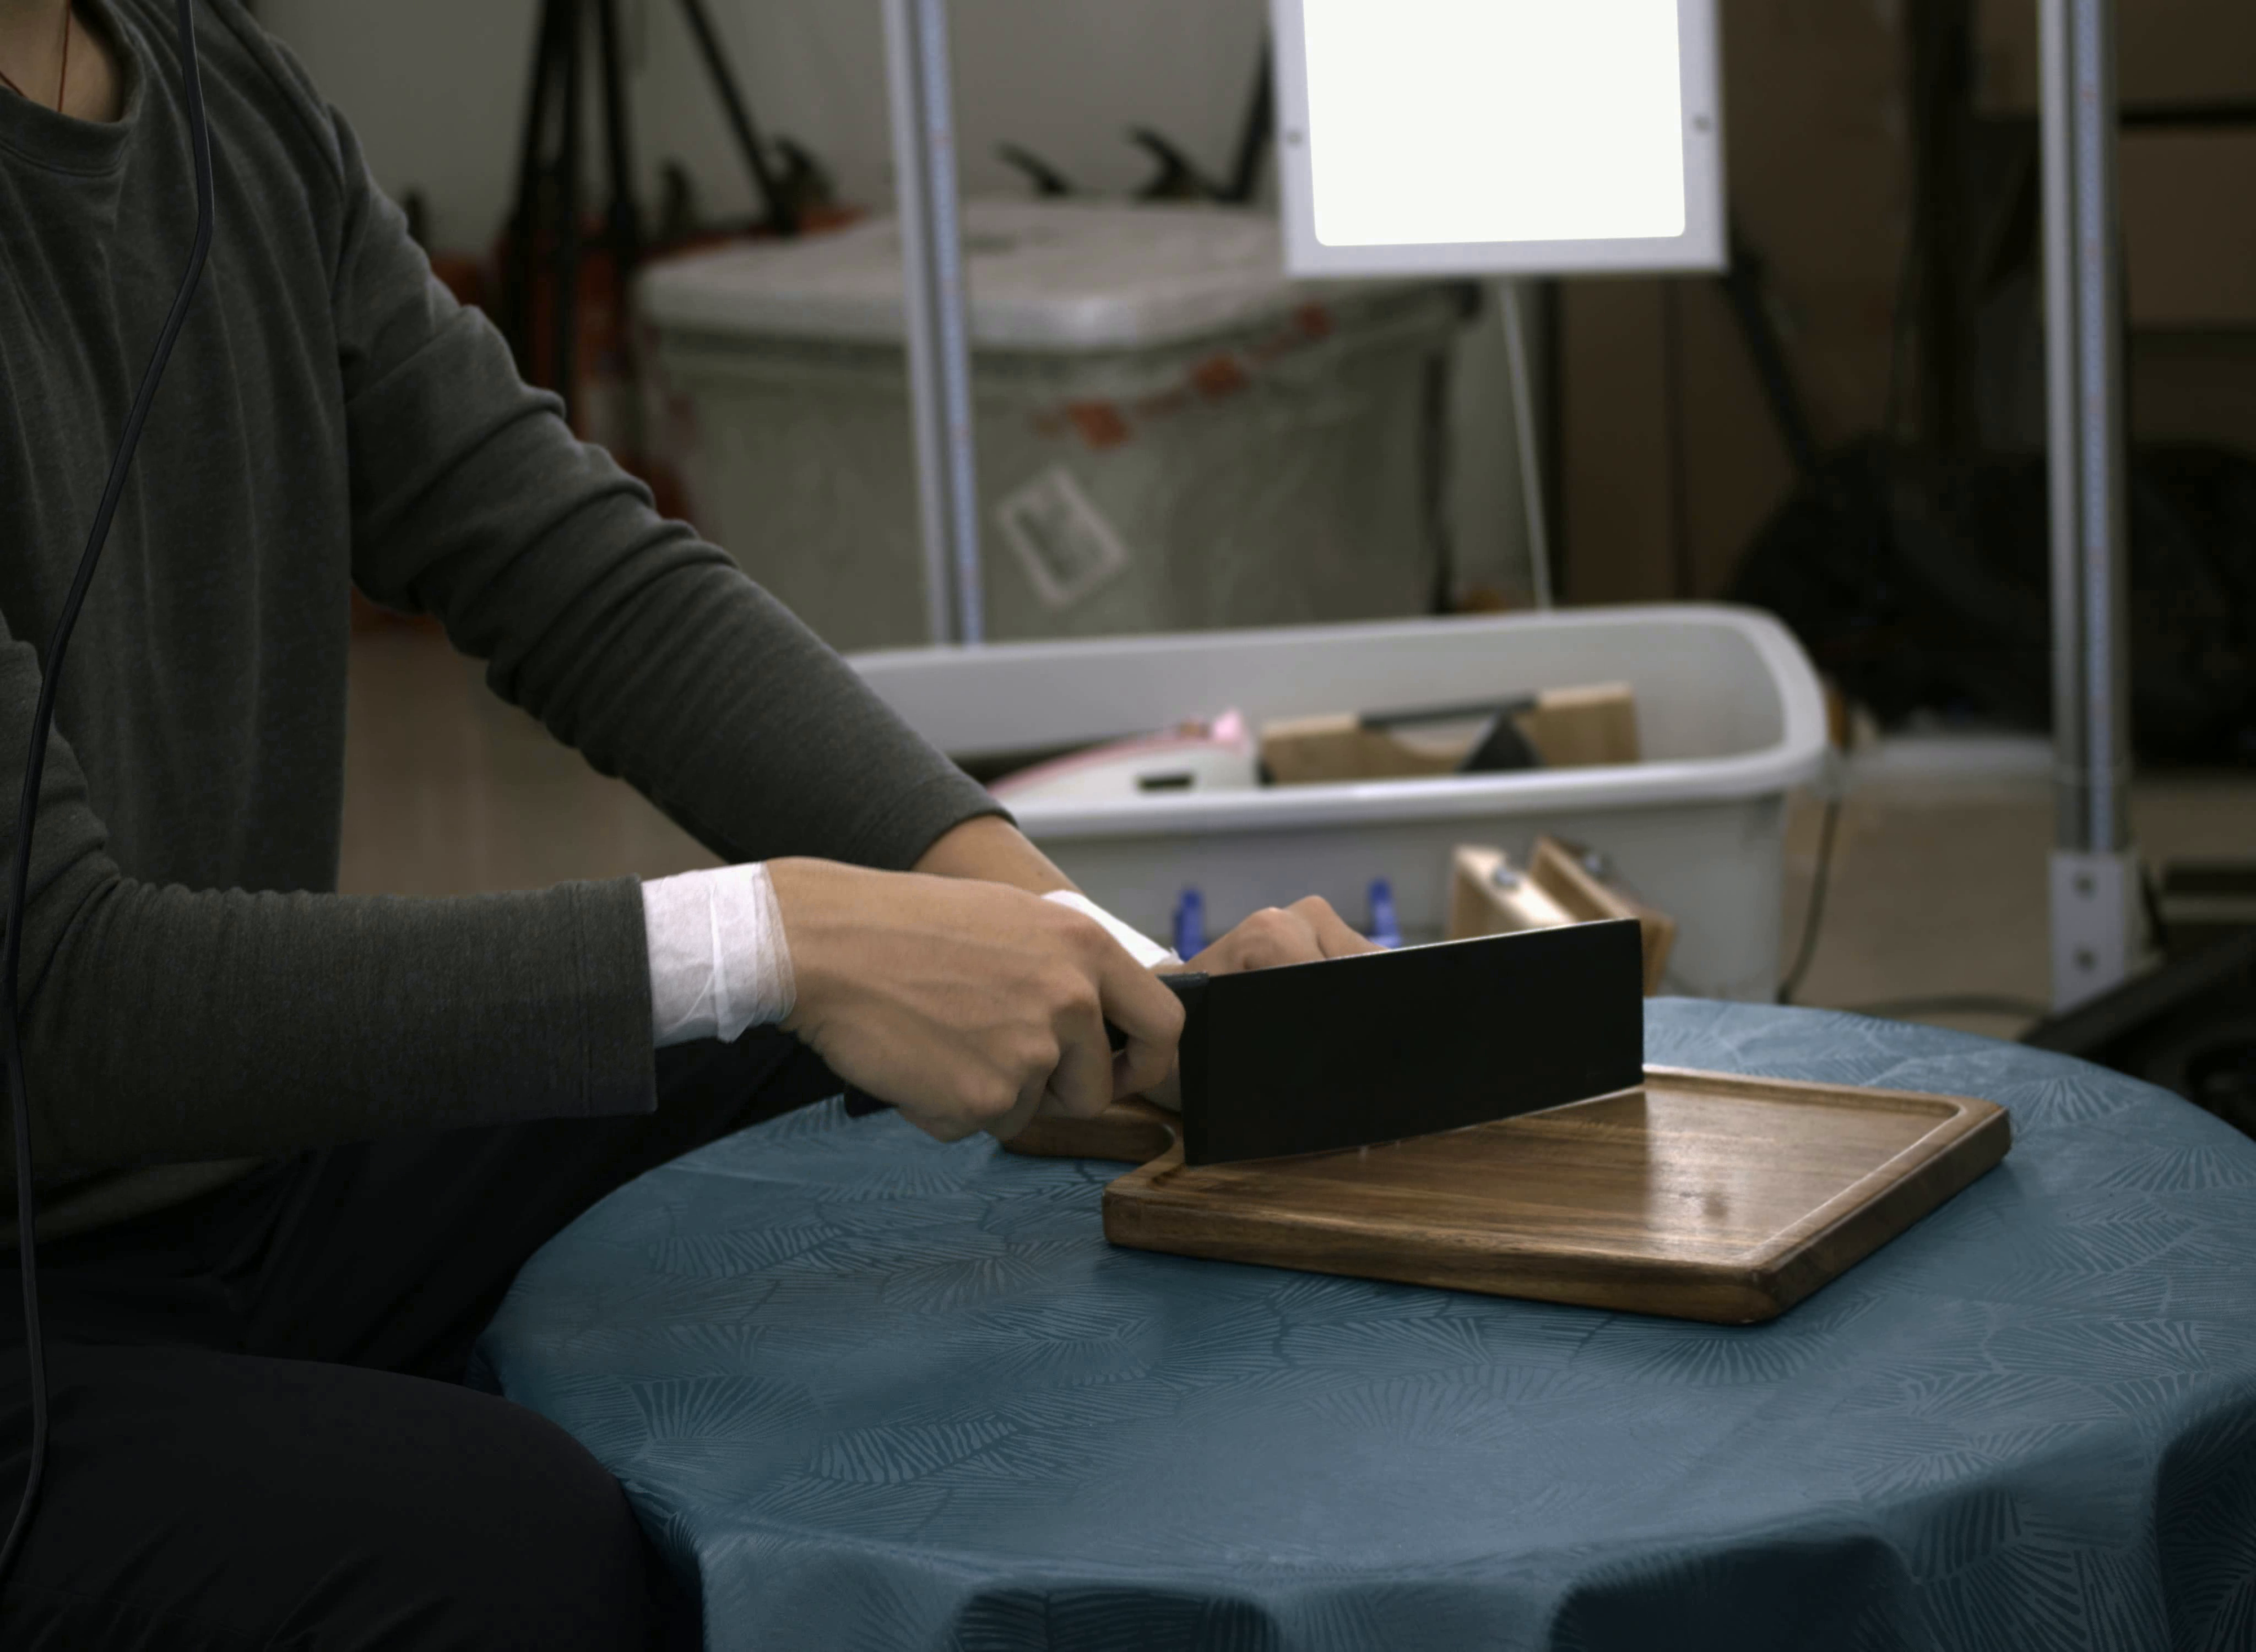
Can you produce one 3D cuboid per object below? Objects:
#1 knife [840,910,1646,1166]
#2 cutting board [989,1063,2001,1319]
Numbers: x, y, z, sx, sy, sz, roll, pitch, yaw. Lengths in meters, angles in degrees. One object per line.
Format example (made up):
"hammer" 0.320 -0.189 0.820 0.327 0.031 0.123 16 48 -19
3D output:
"knife" 0.045 0.075 1.854 0.296 0.081 0.021 -3 9 -22
"cutting board" 0.104 0.112 1.878 0.359 0.023 0.196 4 16 34
